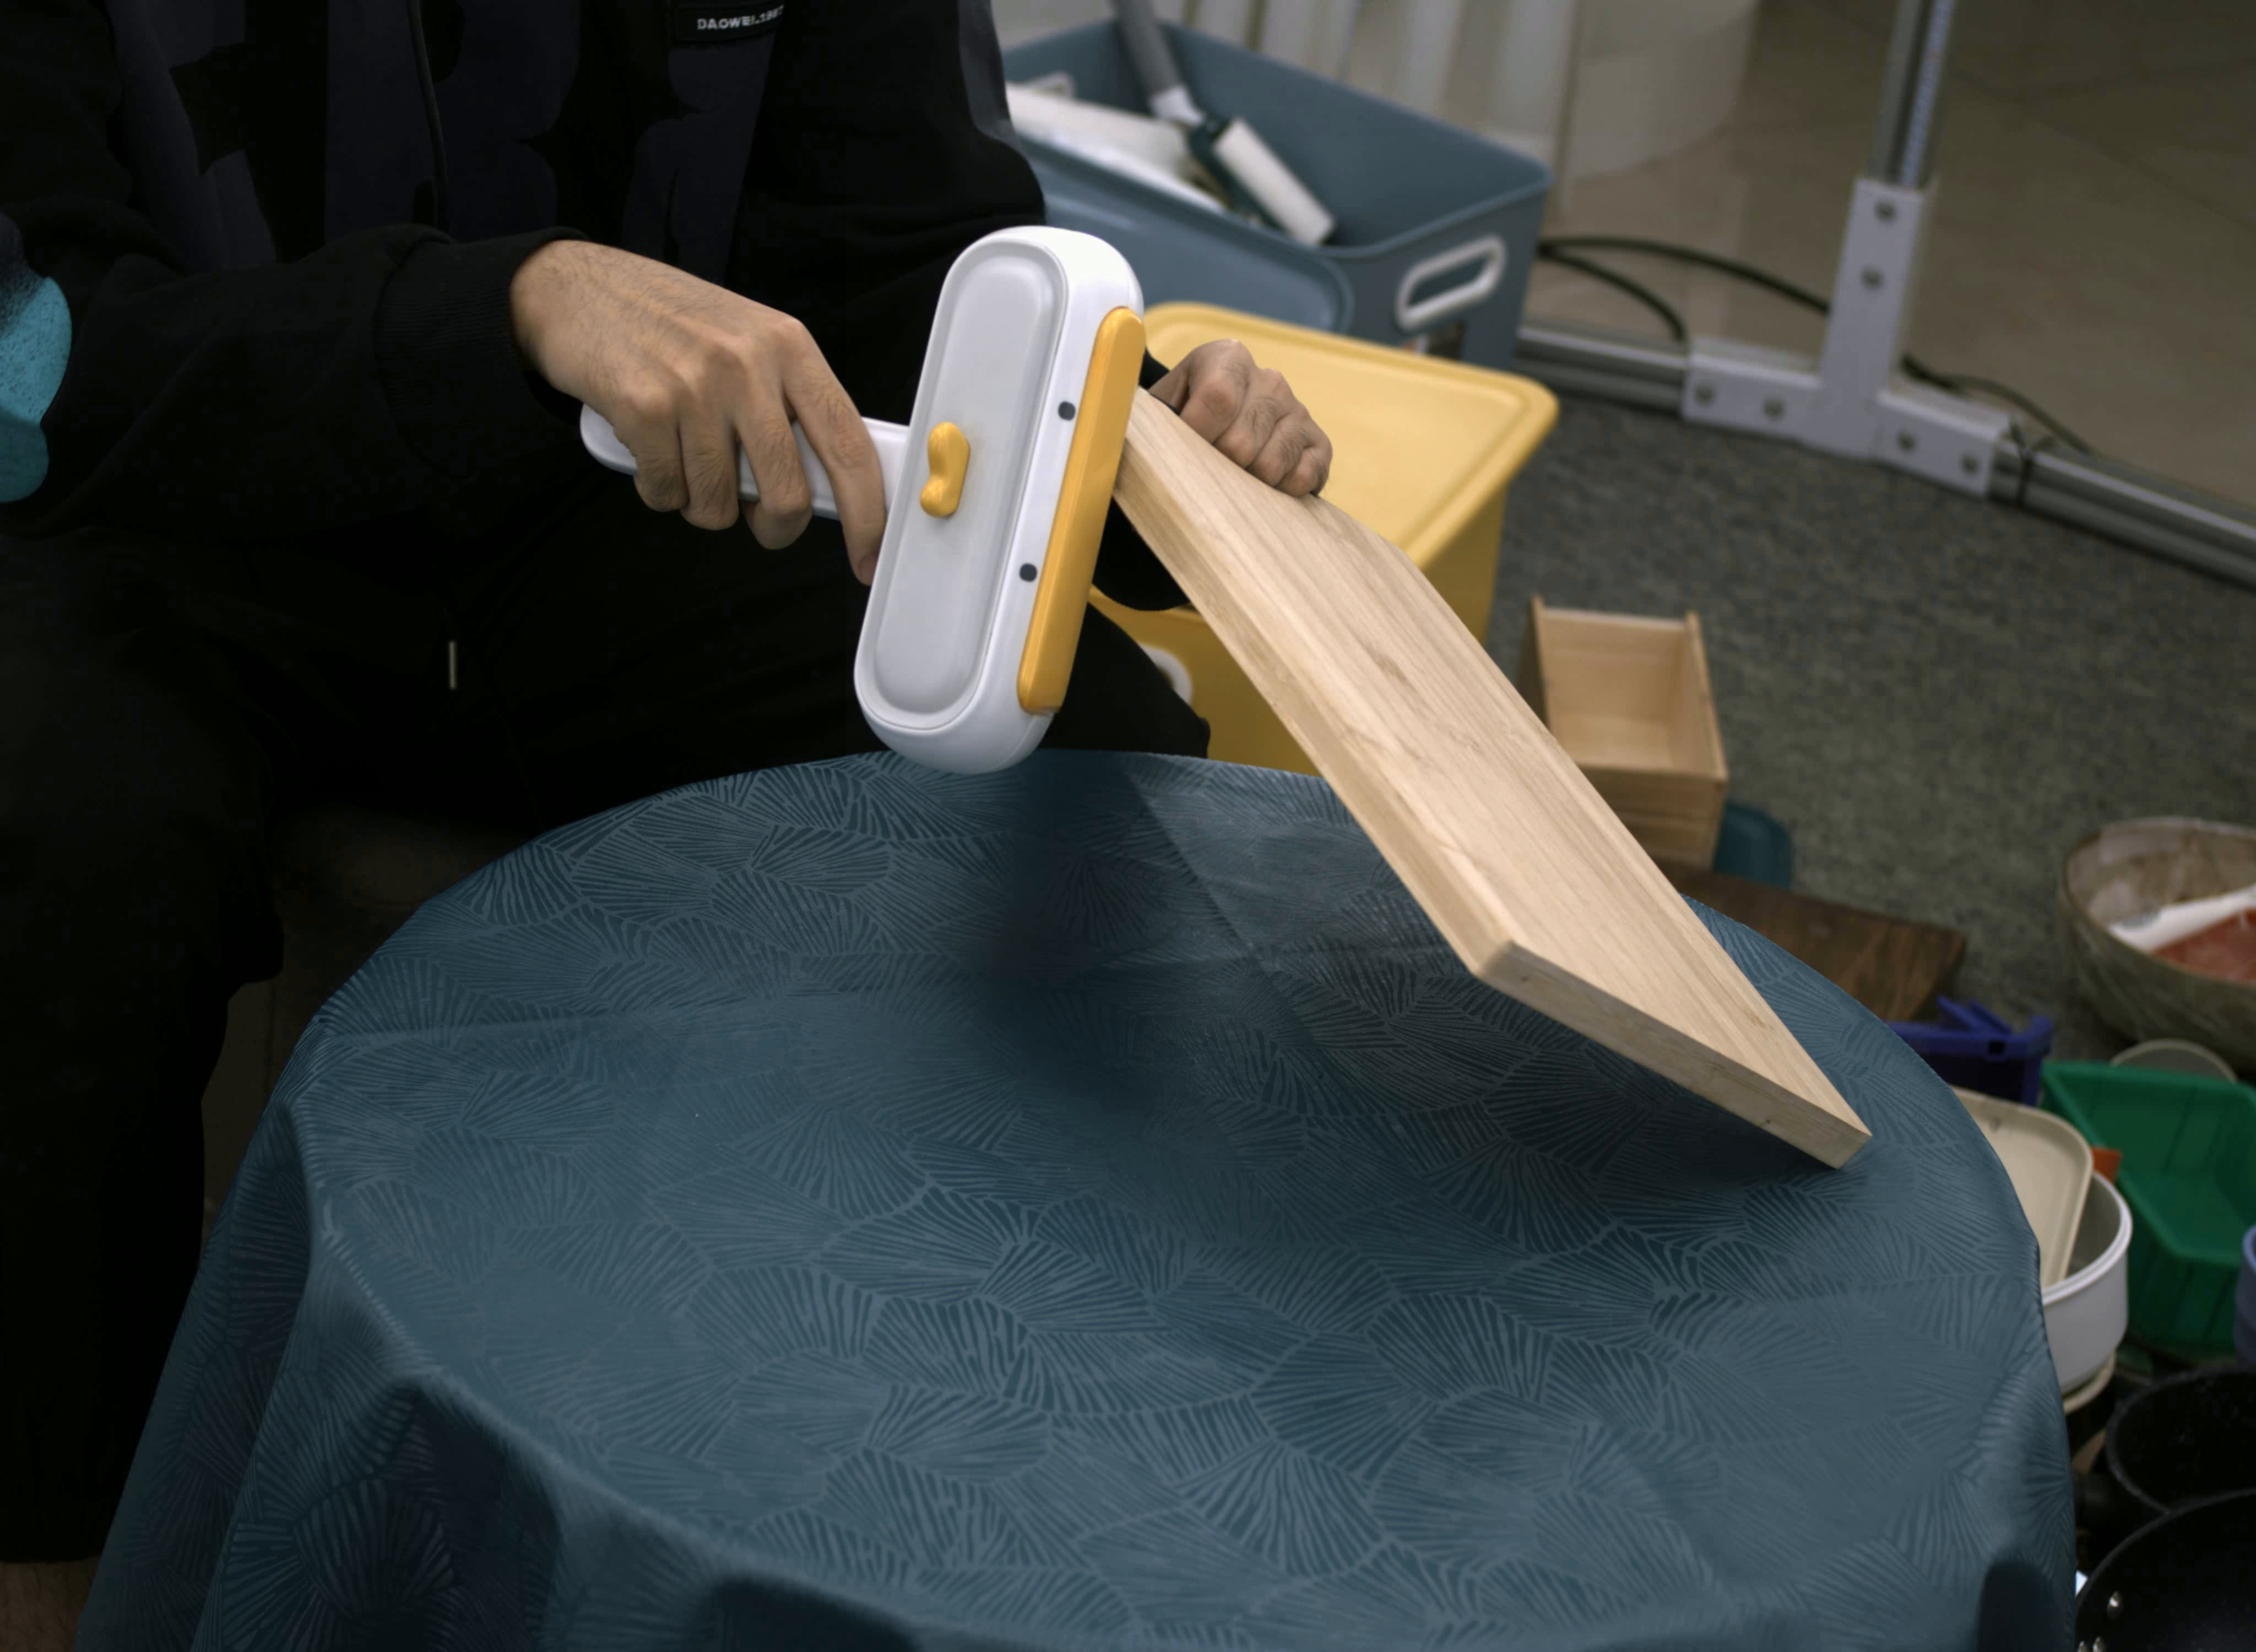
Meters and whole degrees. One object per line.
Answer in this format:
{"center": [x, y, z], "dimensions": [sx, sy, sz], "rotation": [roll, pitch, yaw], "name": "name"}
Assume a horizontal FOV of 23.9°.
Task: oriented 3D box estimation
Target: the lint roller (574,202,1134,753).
{"center": [-0.100, -0.128, 1.867], "dimensions": [0.193, 0.193, 0.073], "rotation": [7, -2, 25], "name": "lint roller"}

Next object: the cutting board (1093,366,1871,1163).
{"center": [0.105, -0.032, 1.885], "dimensions": [0.248, 0.023, 0.352], "rotation": [28, 20, -48], "name": "cutting board"}
